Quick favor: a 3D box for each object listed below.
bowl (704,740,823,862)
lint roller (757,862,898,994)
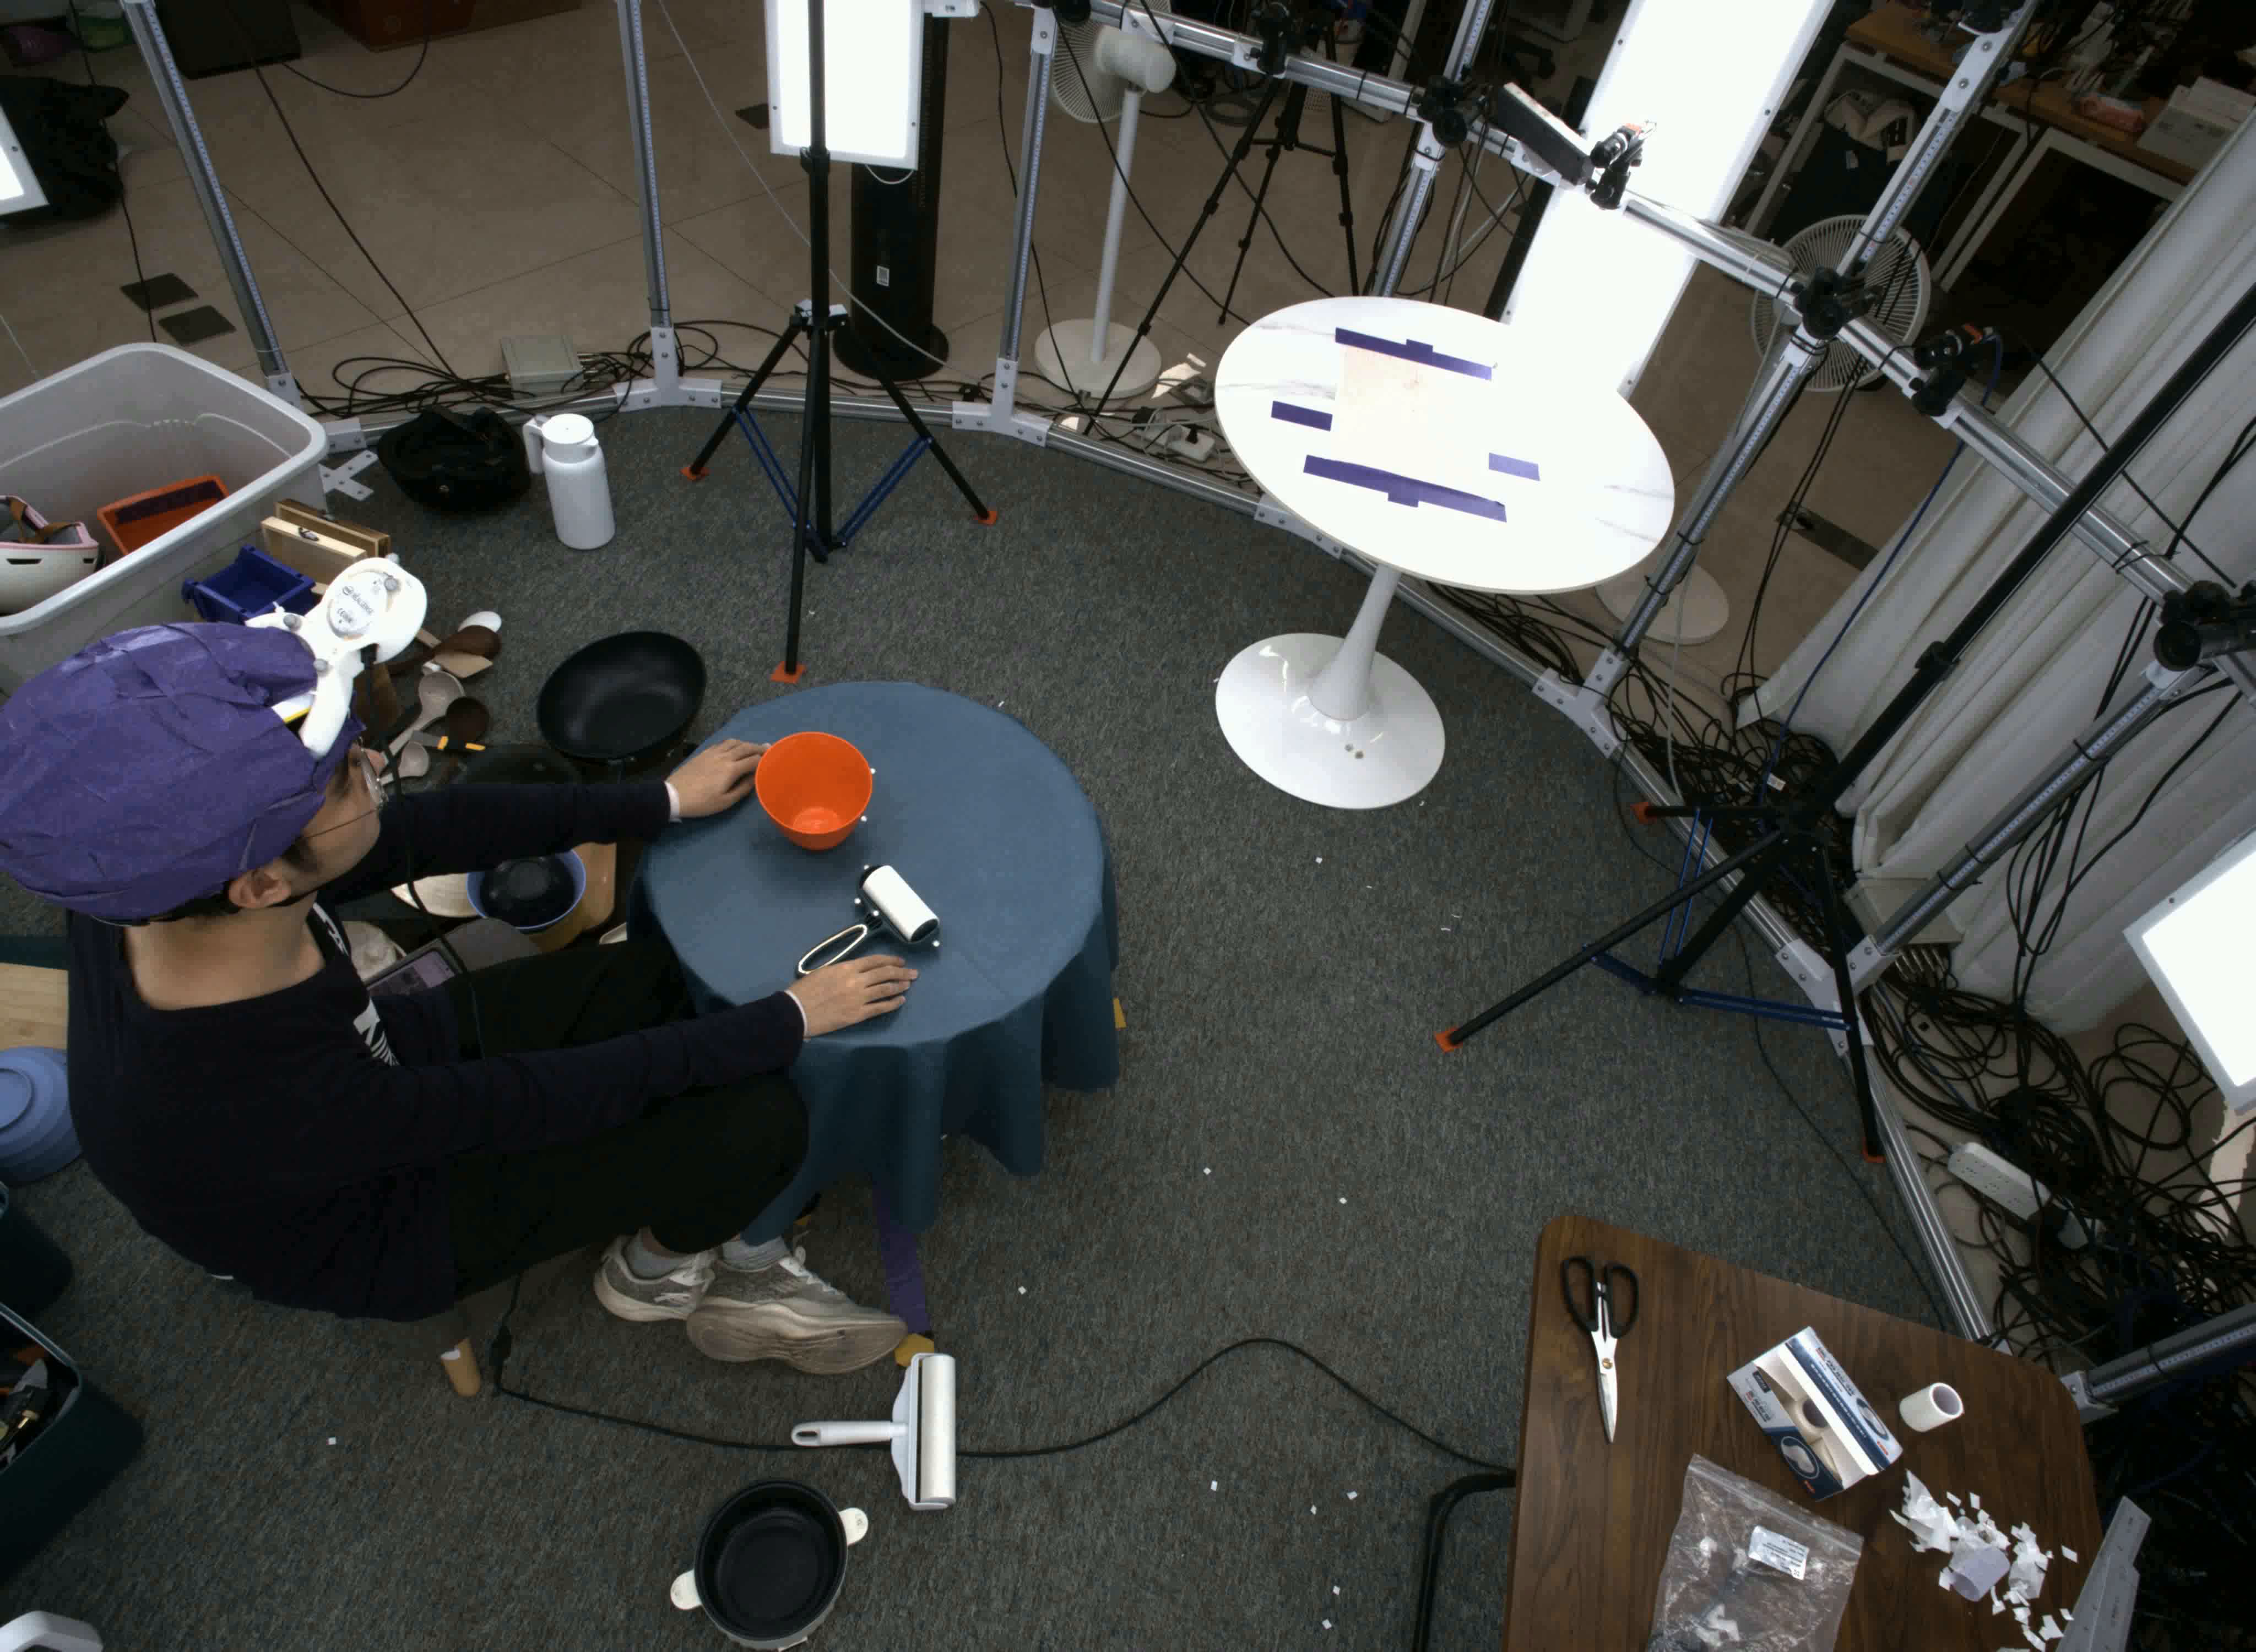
[{"bbox_3d":[-0.469,-0.022,1.680,0.147,0.107,0.145,6,54,-7],"label":"bowl"},{"bbox_3d":[-0.389,0.139,1.617,0.131,0.049,0.180,42,60,17],"label":"lint roller"}]
